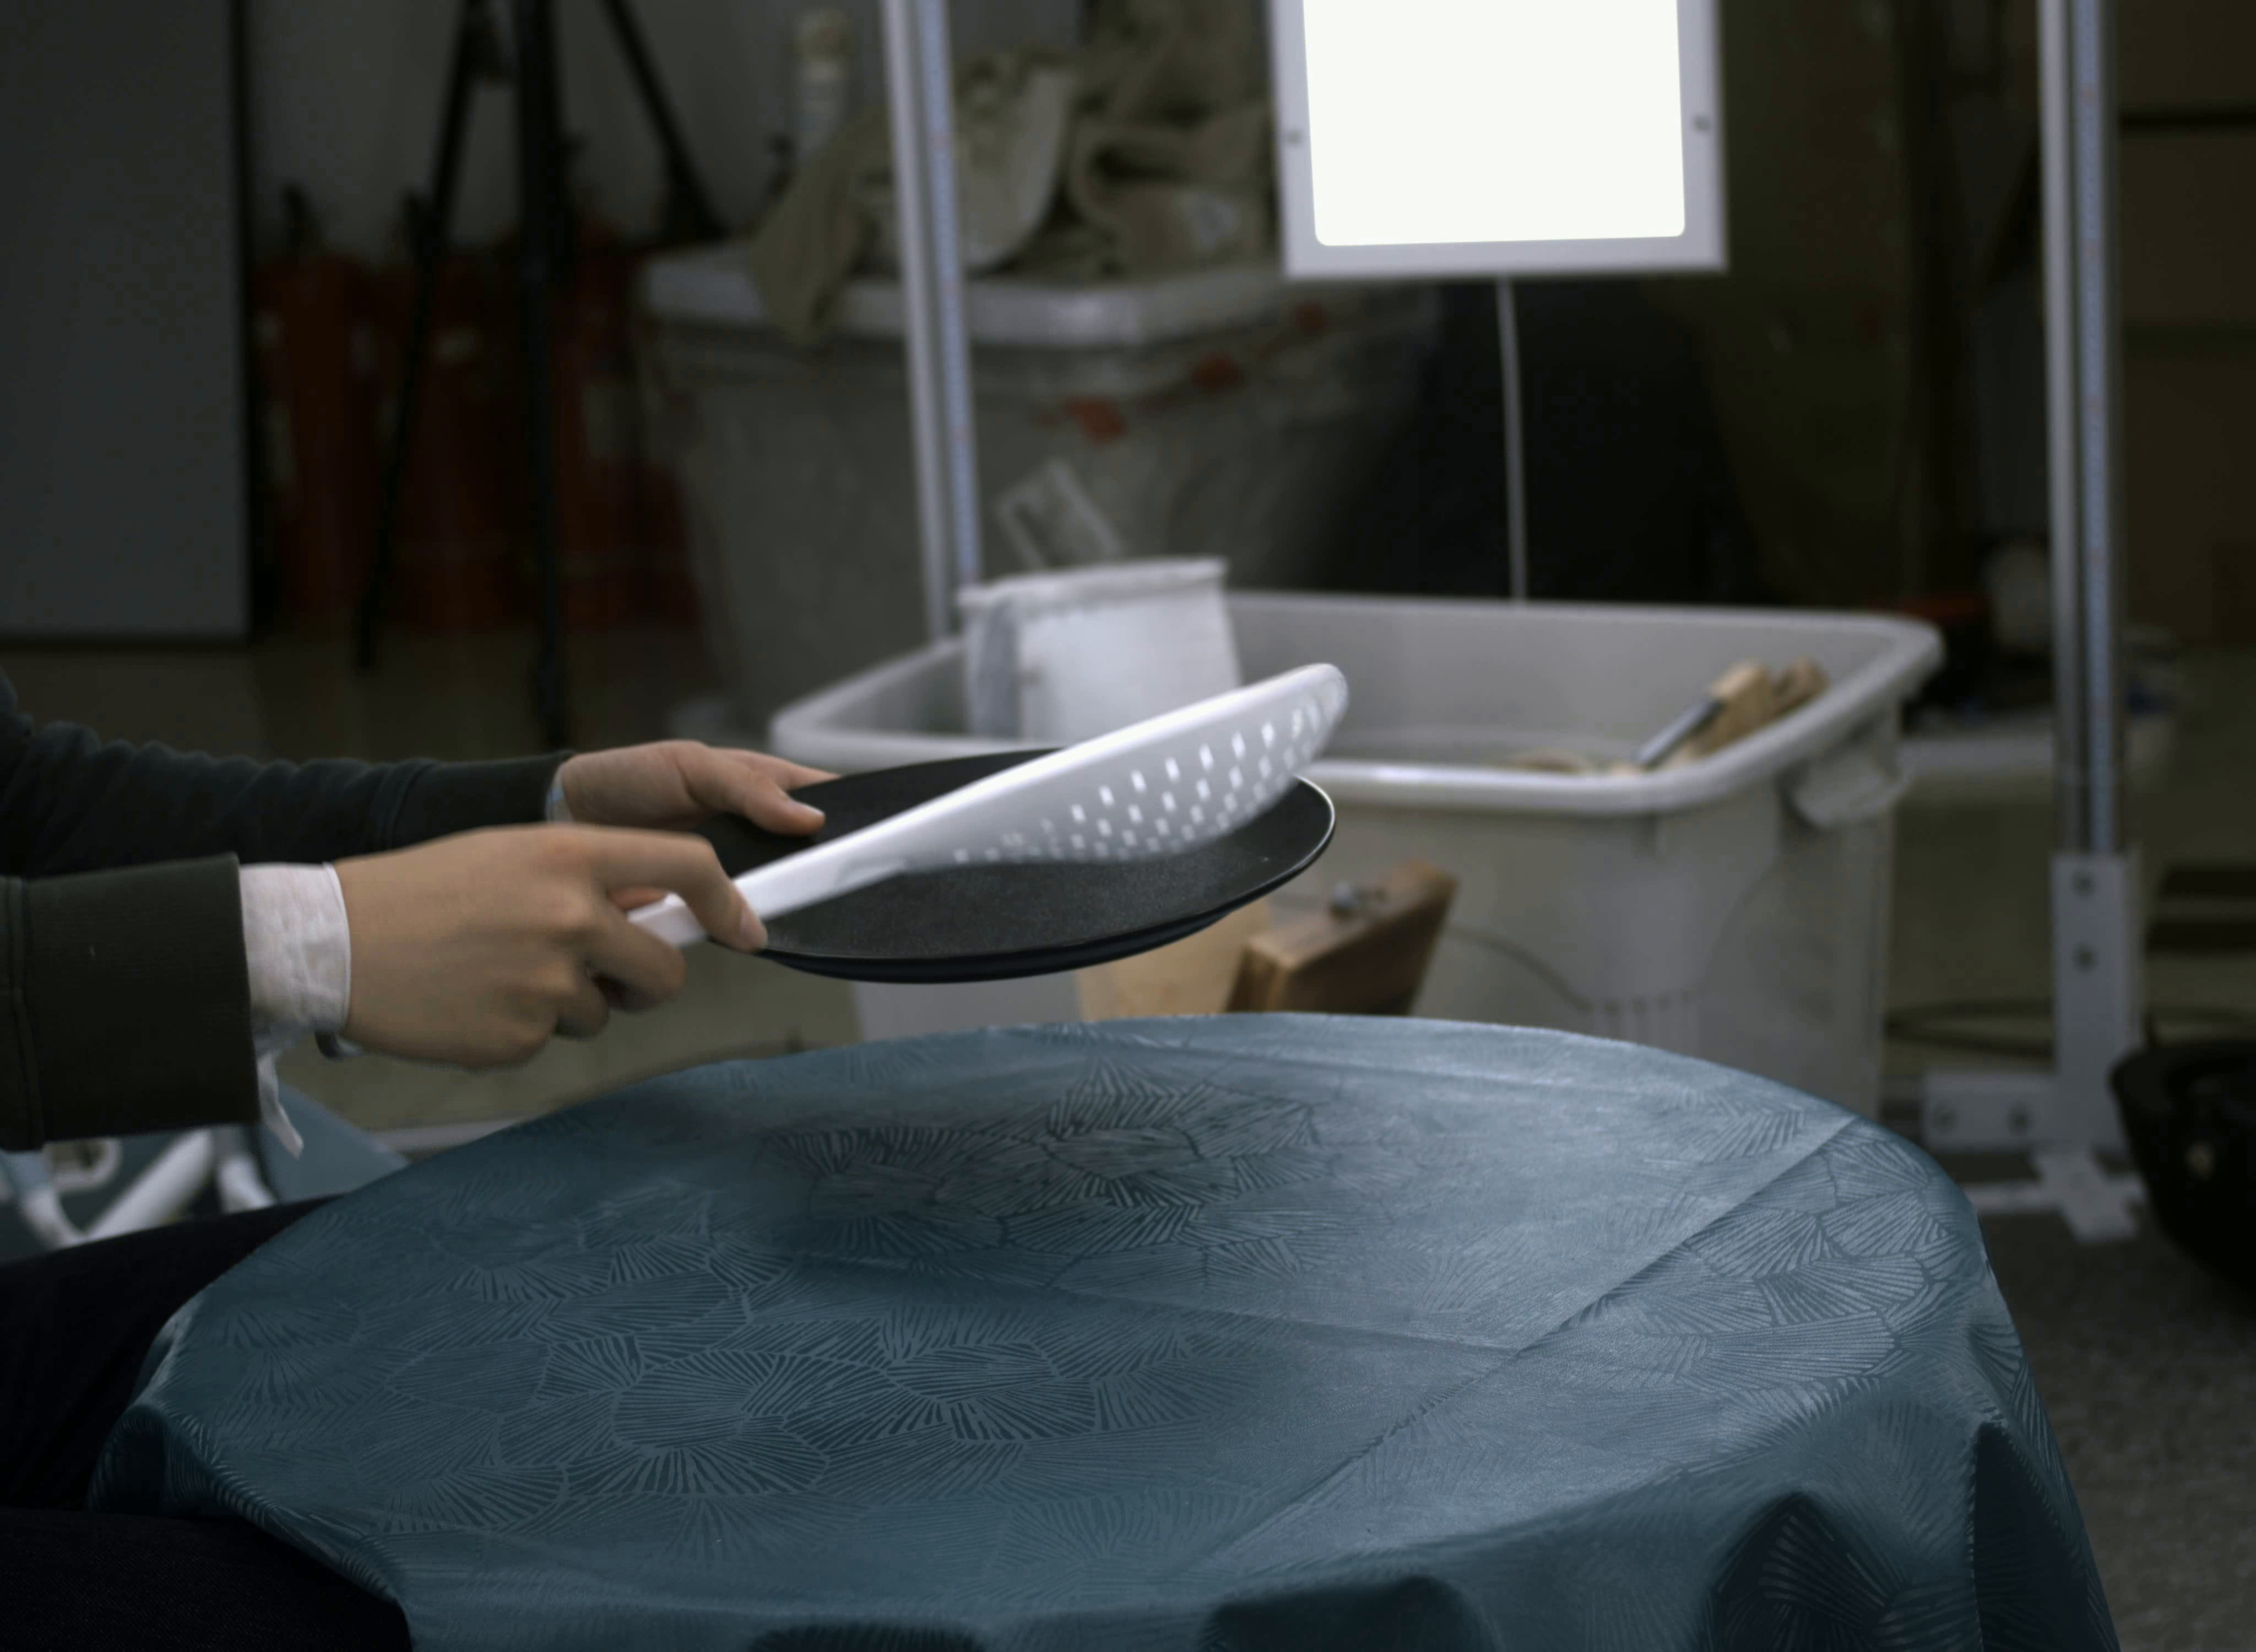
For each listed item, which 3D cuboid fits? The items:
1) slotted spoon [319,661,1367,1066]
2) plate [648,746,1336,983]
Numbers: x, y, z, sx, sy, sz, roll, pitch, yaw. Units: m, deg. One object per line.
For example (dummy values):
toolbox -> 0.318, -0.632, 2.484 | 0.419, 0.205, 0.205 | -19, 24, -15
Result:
slotted spoon -> -0.082, 0.011, 1.681 | 0.343, 0.046, 0.138 | -14, 1, -20
plate -> -0.047, 0.016, 1.933 | 0.244, 0.023, 0.244 | -6, 16, 0
